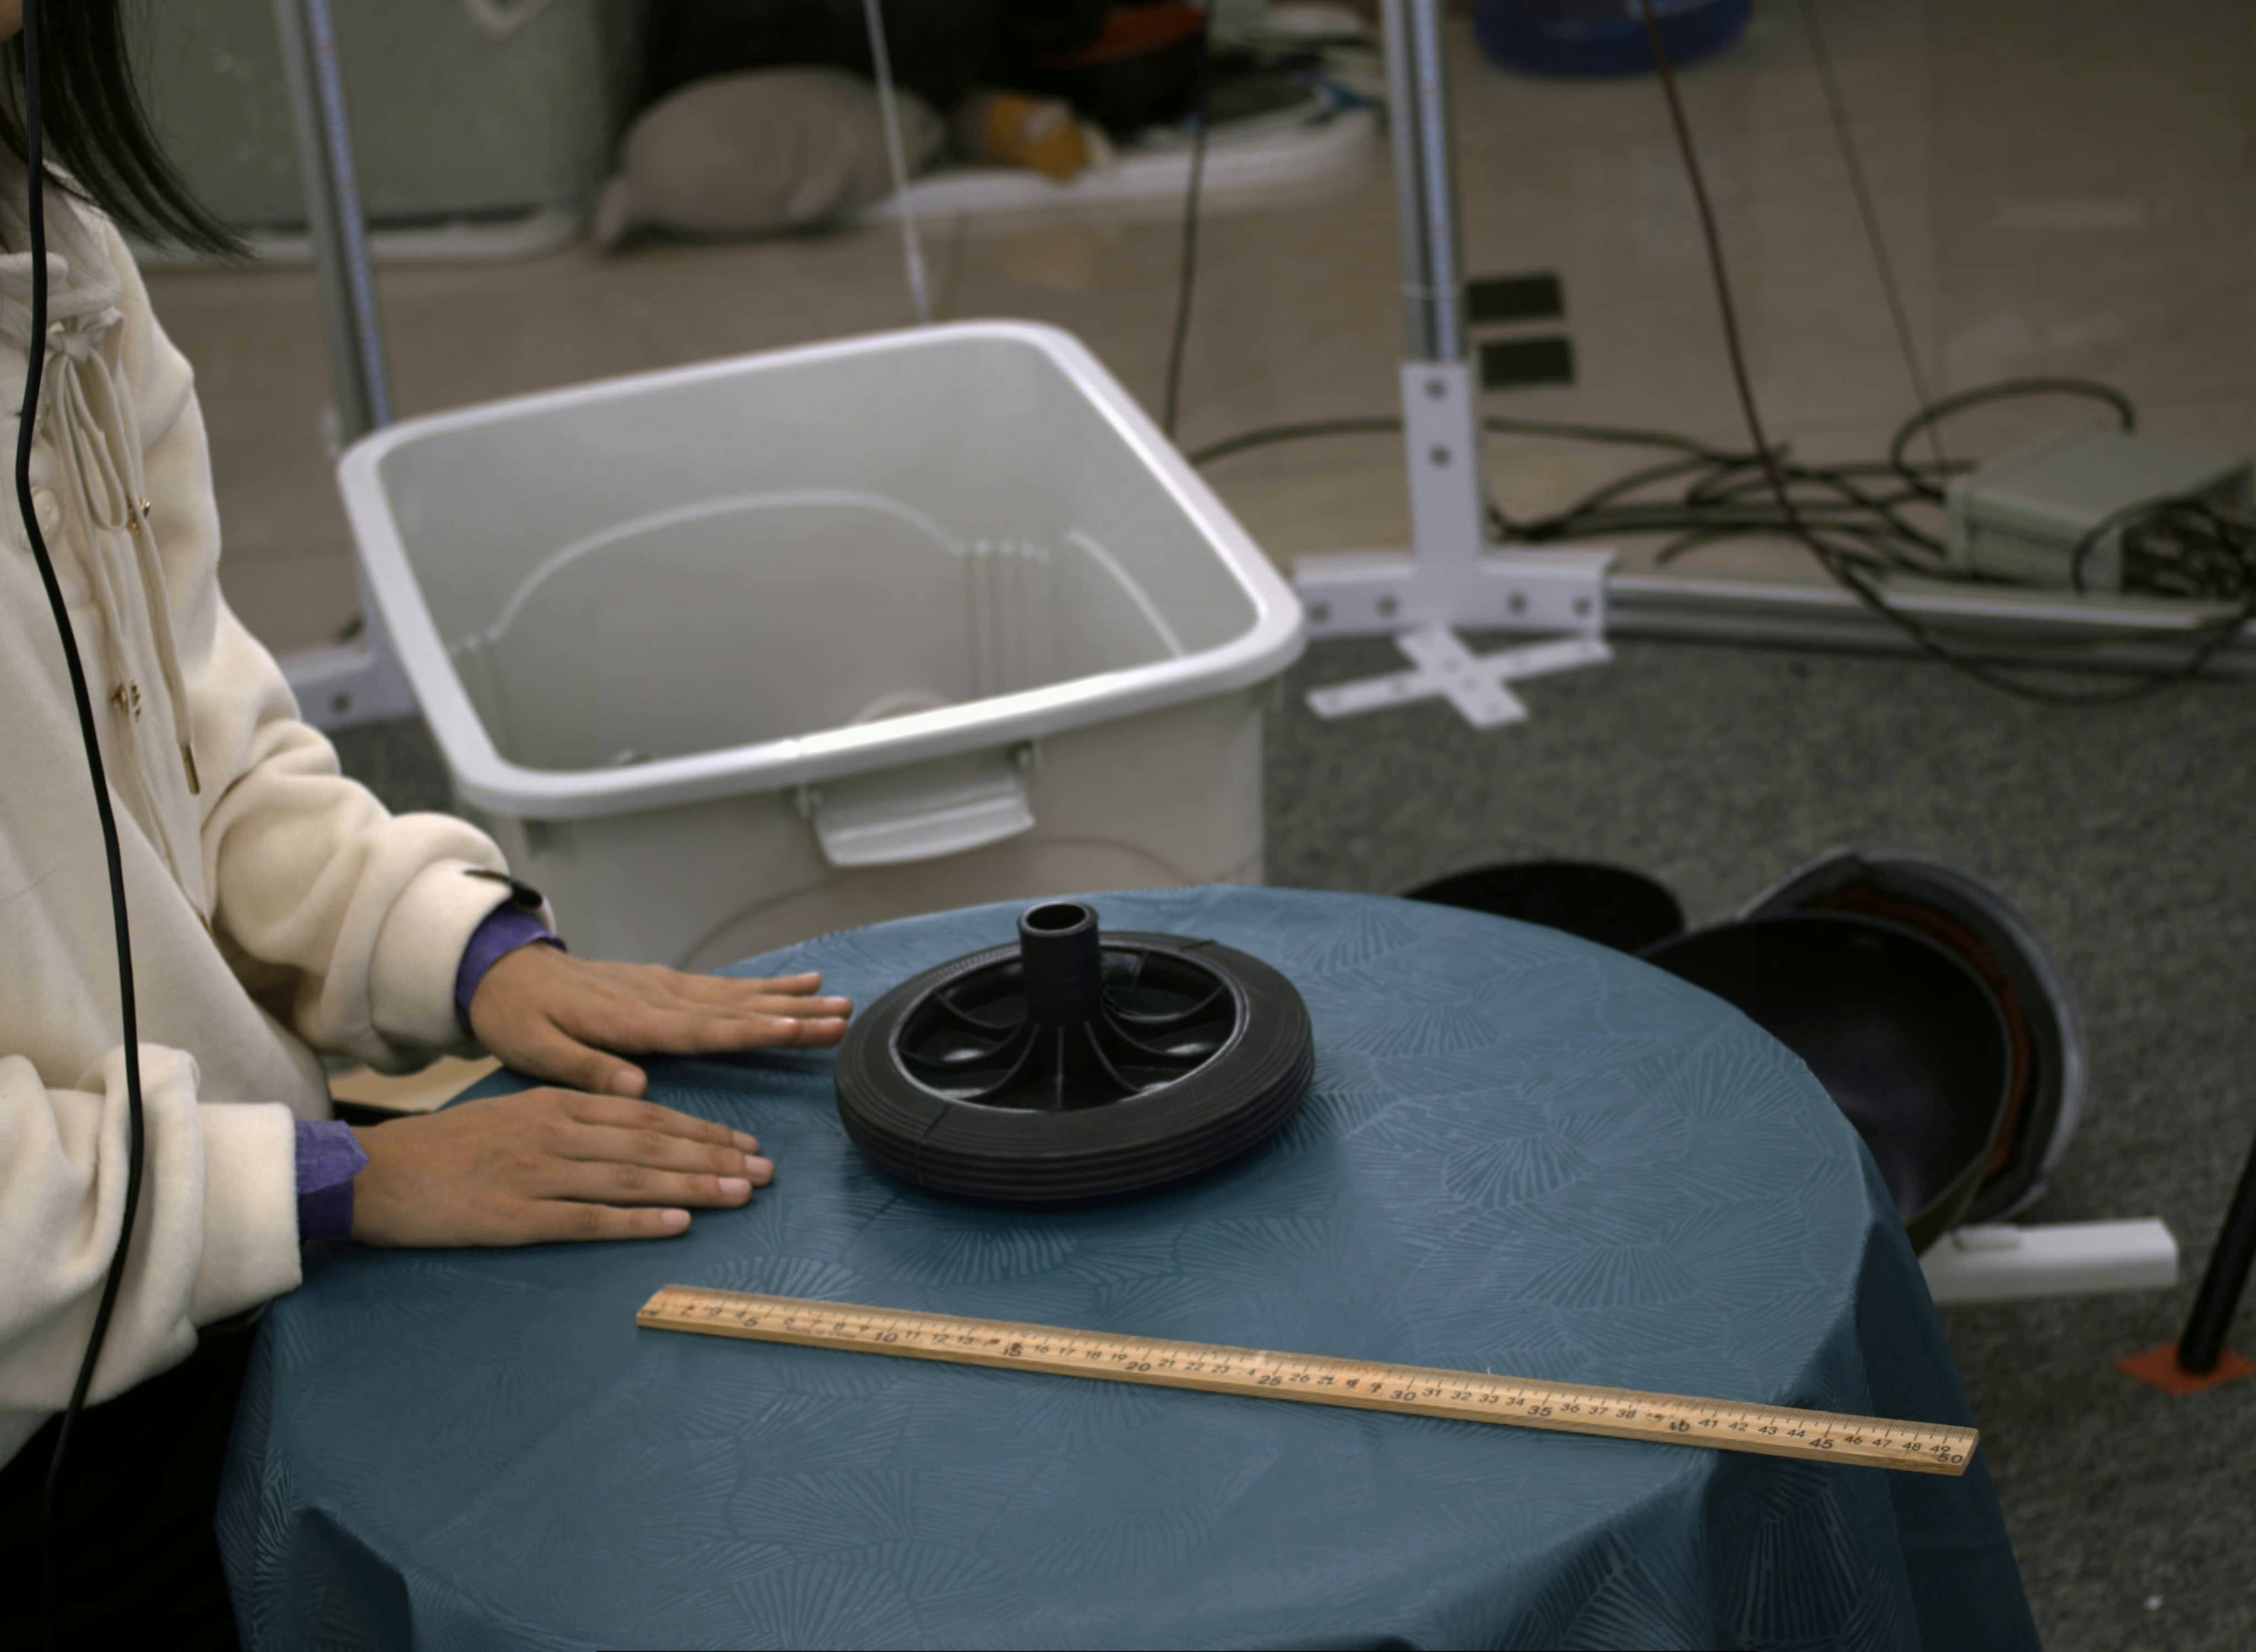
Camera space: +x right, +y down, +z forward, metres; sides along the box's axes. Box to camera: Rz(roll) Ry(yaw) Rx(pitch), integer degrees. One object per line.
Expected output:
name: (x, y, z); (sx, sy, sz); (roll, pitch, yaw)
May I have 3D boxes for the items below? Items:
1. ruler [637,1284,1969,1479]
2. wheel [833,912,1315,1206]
ruler: (0.051, 0.195, 2.010); (0.499, 0.006, 0.026); (4, 28, 22)
wheel: (-0.023, 0.075, 2.199); (0.187, 0.080, 0.187); (-12, 27, -11)
